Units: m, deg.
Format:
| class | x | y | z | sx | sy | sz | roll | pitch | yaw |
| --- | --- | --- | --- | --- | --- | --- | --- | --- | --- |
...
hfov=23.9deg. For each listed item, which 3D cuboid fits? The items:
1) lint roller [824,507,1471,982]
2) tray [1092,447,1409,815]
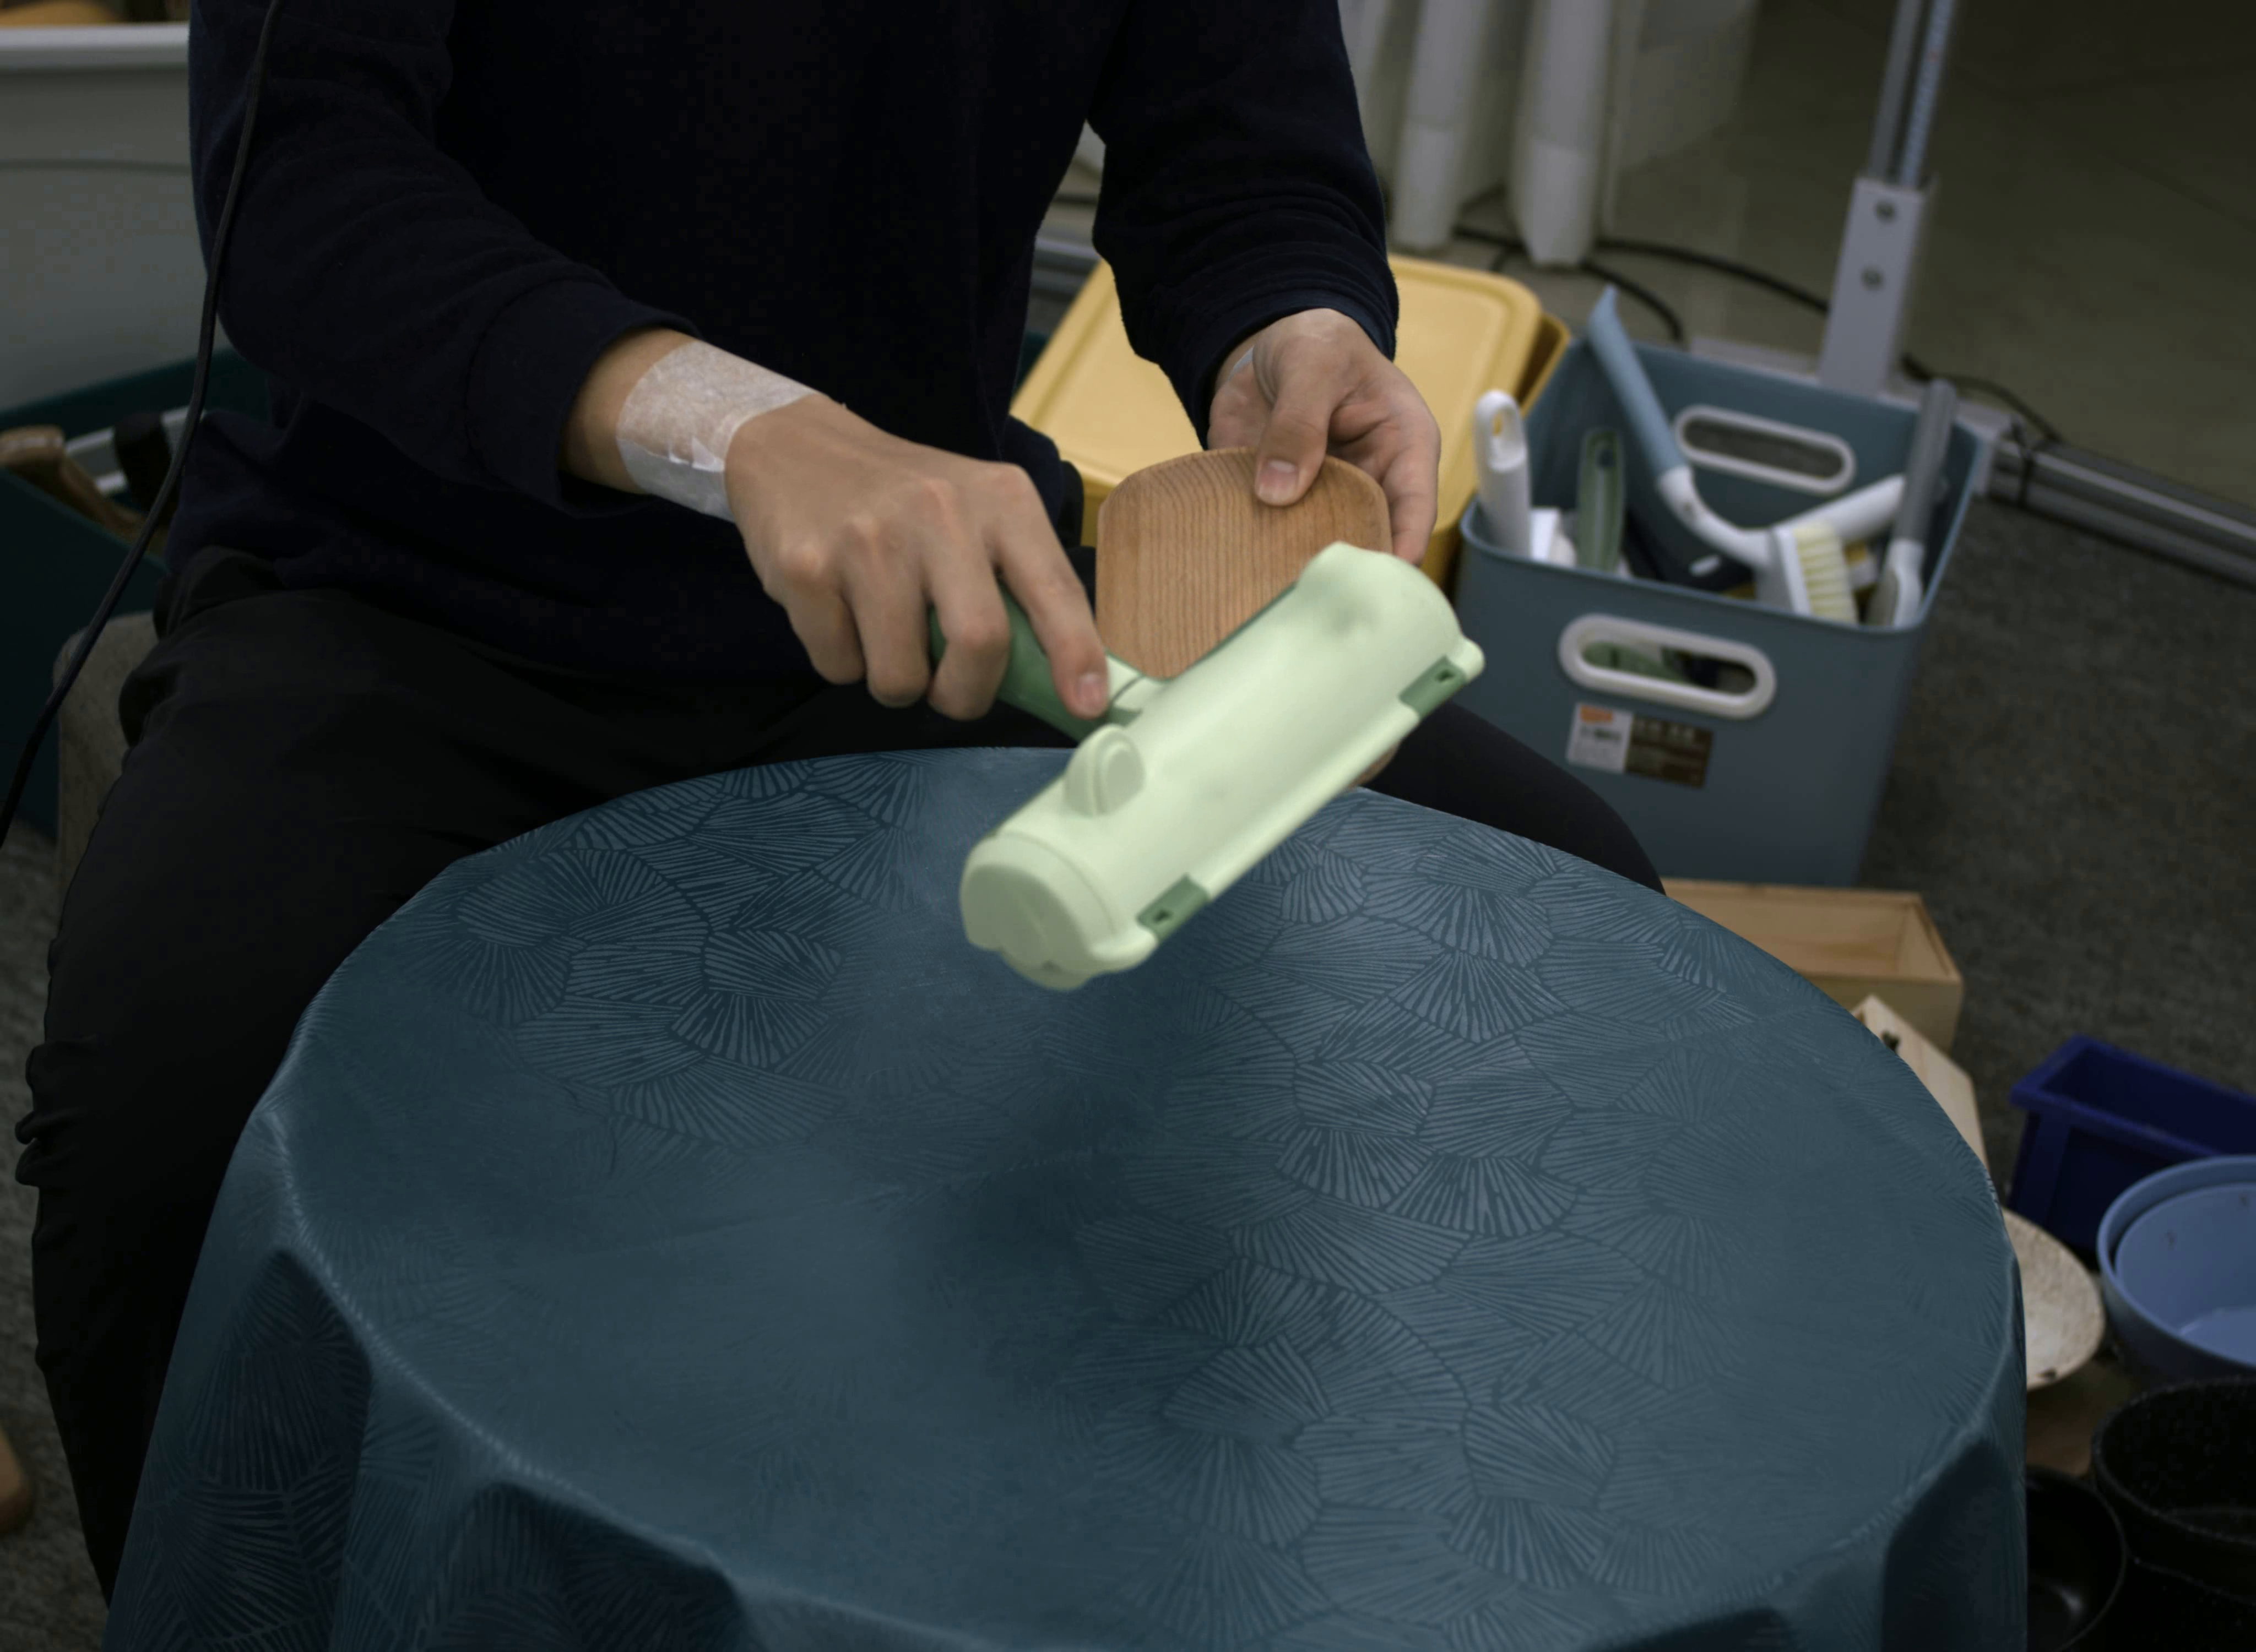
| class | x | y | z | sx | sy | sz | roll | pitch | yaw |
| --- | --- | --- | --- | --- | --- | --- | --- | --- | --- |
| lint roller | -0.016 | -0.060 | 1.630 | 0.184 | 0.082 | 0.198 | 38 | 49 | 15 |
| tray | 0.039 | -0.067 | 1.754 | 0.101 | 0.020 | 0.233 | -5 | 32 | 3 |
